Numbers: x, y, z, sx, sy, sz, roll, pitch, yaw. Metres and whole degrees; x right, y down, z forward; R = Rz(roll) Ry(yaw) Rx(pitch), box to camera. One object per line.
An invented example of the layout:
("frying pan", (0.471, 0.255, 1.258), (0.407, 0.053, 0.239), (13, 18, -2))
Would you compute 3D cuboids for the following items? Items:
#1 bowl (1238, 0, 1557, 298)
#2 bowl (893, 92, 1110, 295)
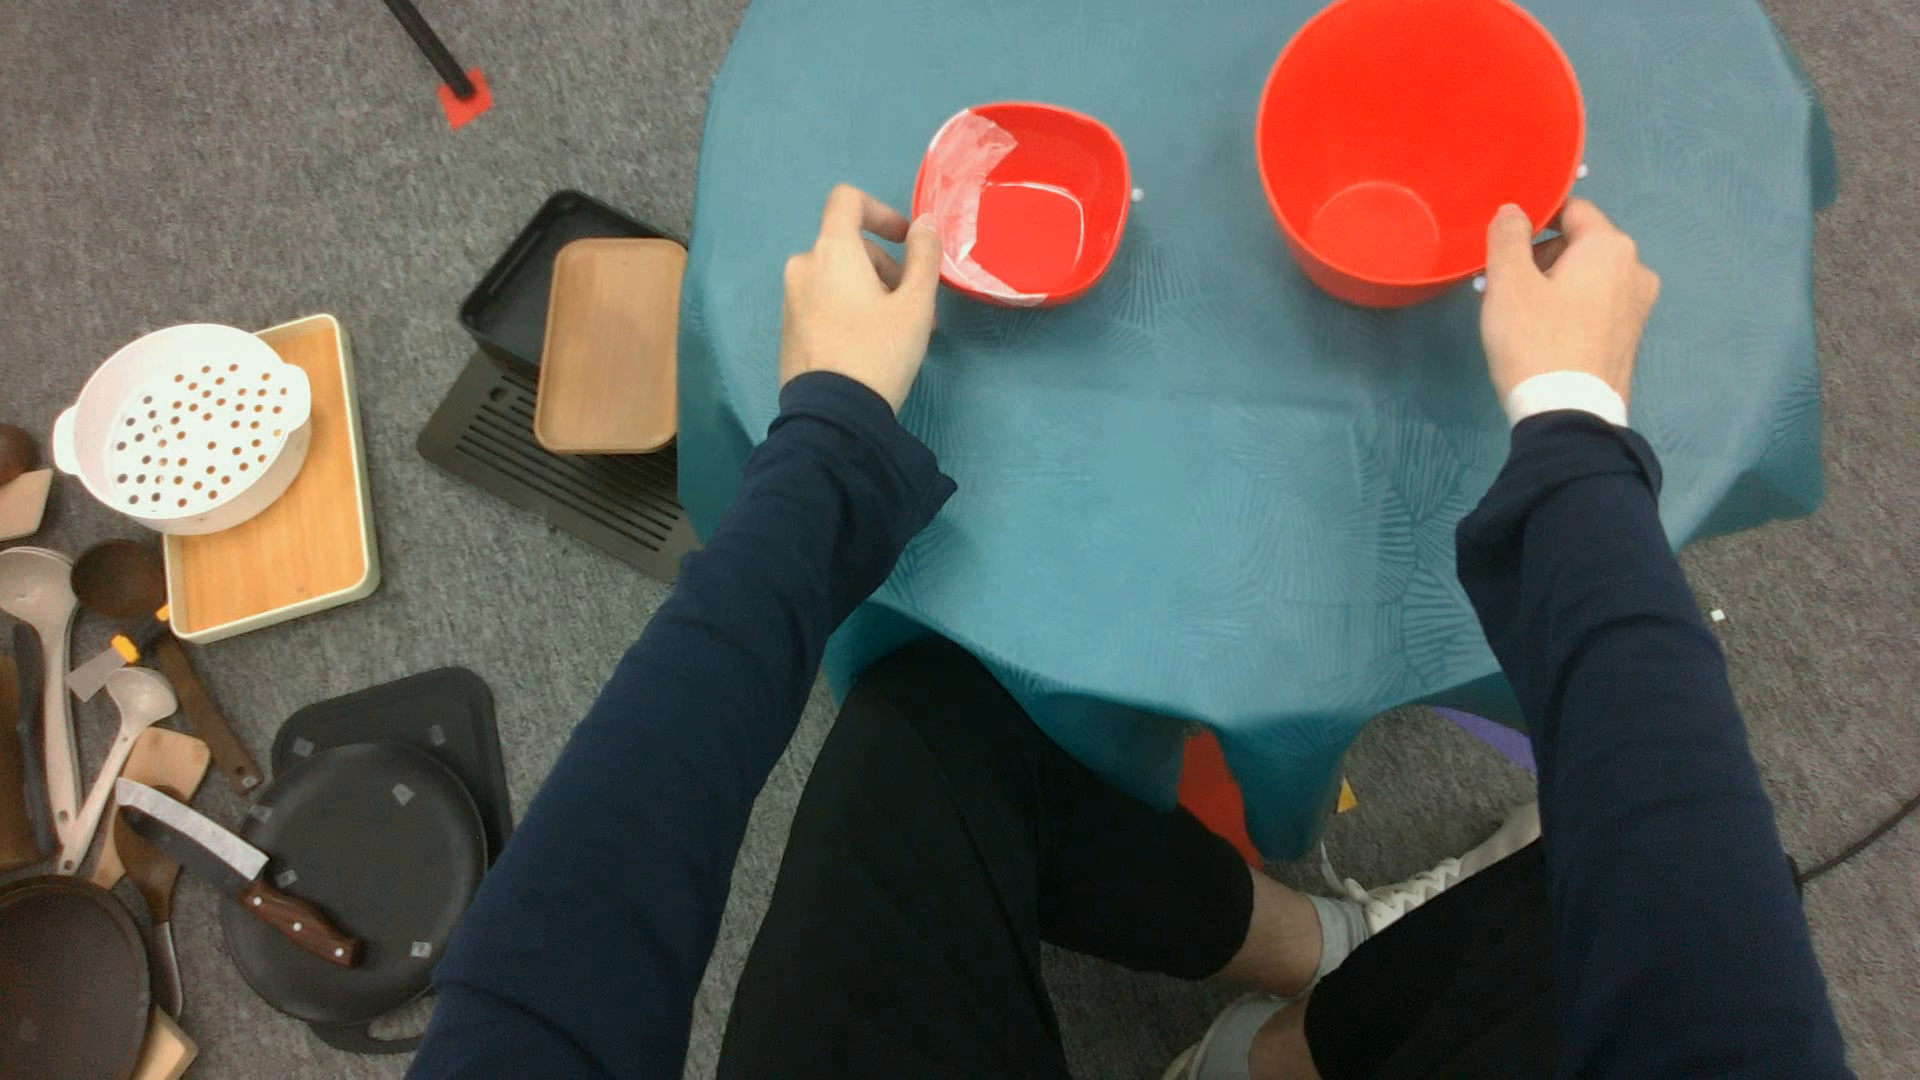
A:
("bowl", (0.209, -0.187, 0.691), (0.148, 0.104, 0.148), (-1, 75, 4))
("bowl", (0.022, -0.174, 0.725), (0.119, 0.051, 0.119), (-1, 74, 3))
